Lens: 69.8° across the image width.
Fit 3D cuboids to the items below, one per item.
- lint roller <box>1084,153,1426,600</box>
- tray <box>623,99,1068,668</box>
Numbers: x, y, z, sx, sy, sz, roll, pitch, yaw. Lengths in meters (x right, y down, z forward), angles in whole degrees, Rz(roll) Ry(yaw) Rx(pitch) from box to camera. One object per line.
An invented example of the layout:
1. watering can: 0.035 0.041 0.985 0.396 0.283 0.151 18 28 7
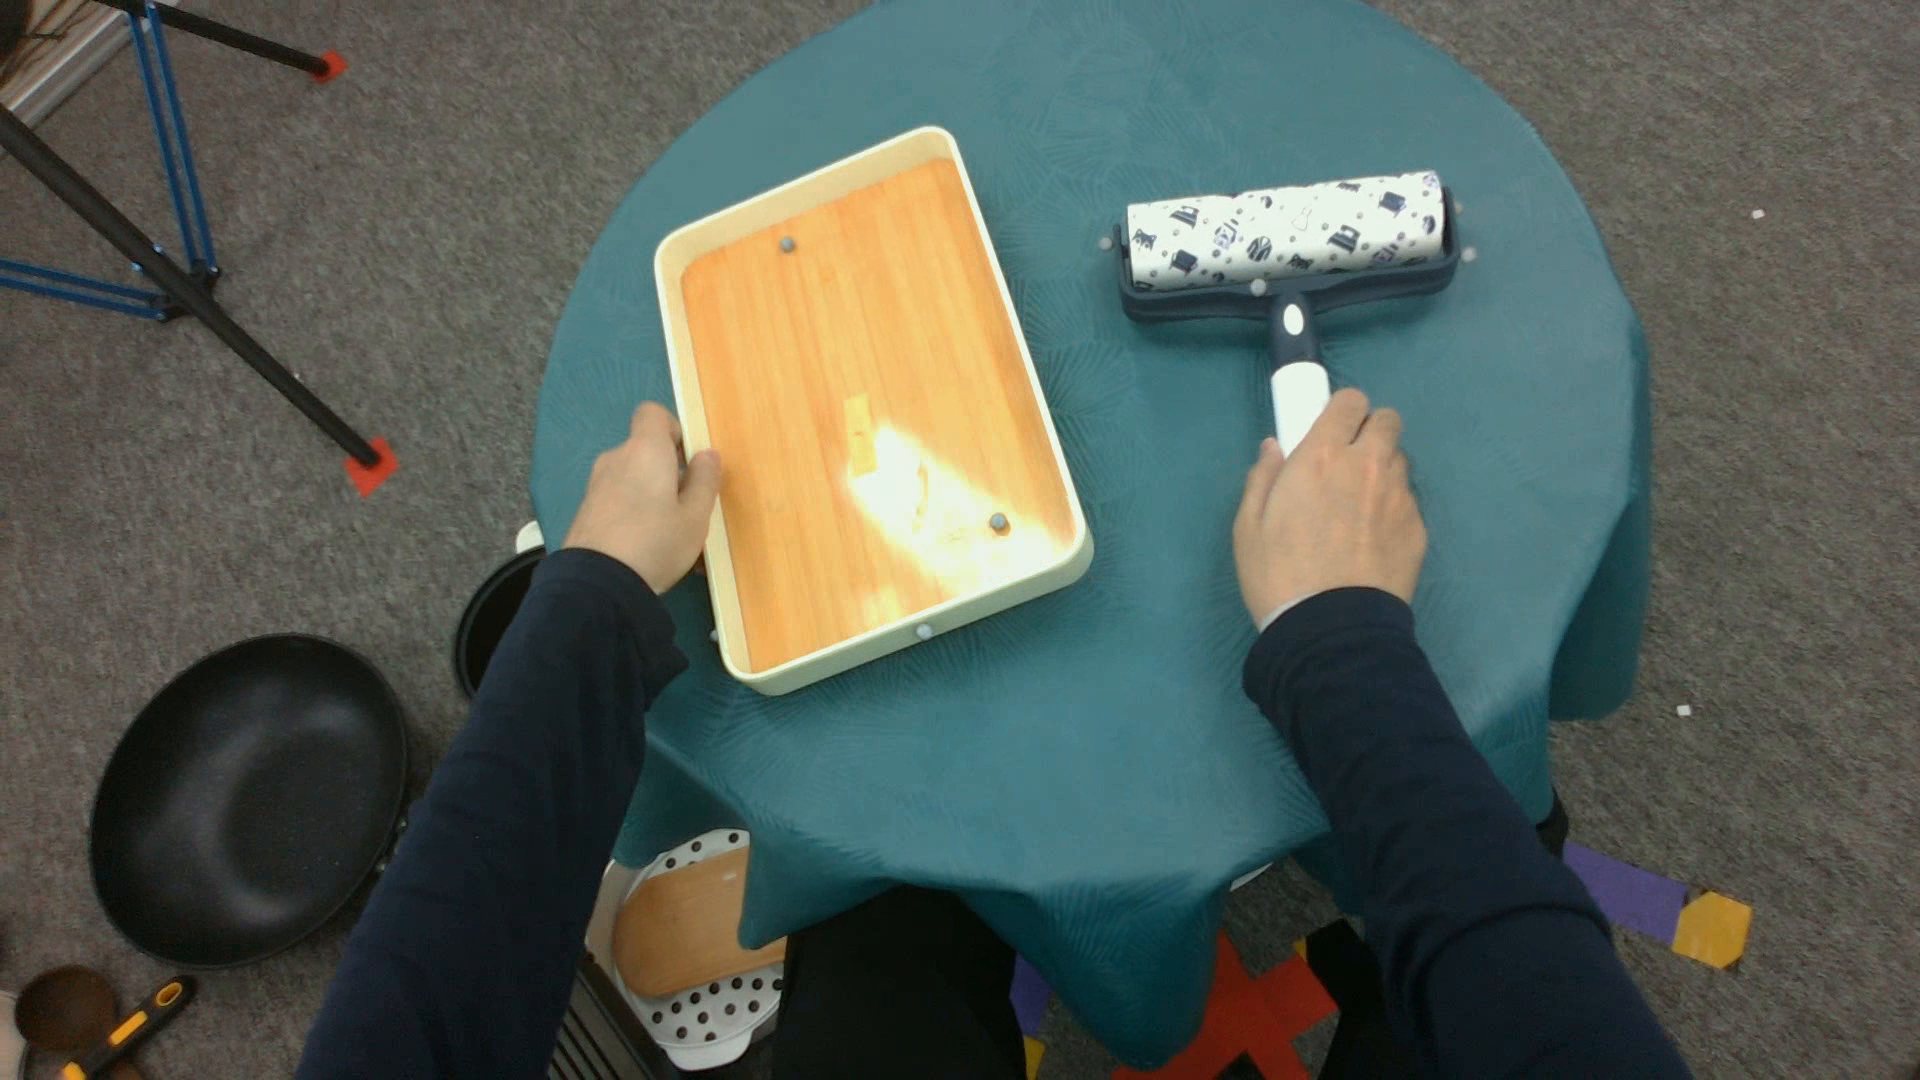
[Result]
1. lint roller: 0.160 -0.089 0.694 0.176 0.050 0.248 -5 61 5
2. tray: -0.071 -0.093 0.727 0.191 0.027 0.301 -20 60 7
